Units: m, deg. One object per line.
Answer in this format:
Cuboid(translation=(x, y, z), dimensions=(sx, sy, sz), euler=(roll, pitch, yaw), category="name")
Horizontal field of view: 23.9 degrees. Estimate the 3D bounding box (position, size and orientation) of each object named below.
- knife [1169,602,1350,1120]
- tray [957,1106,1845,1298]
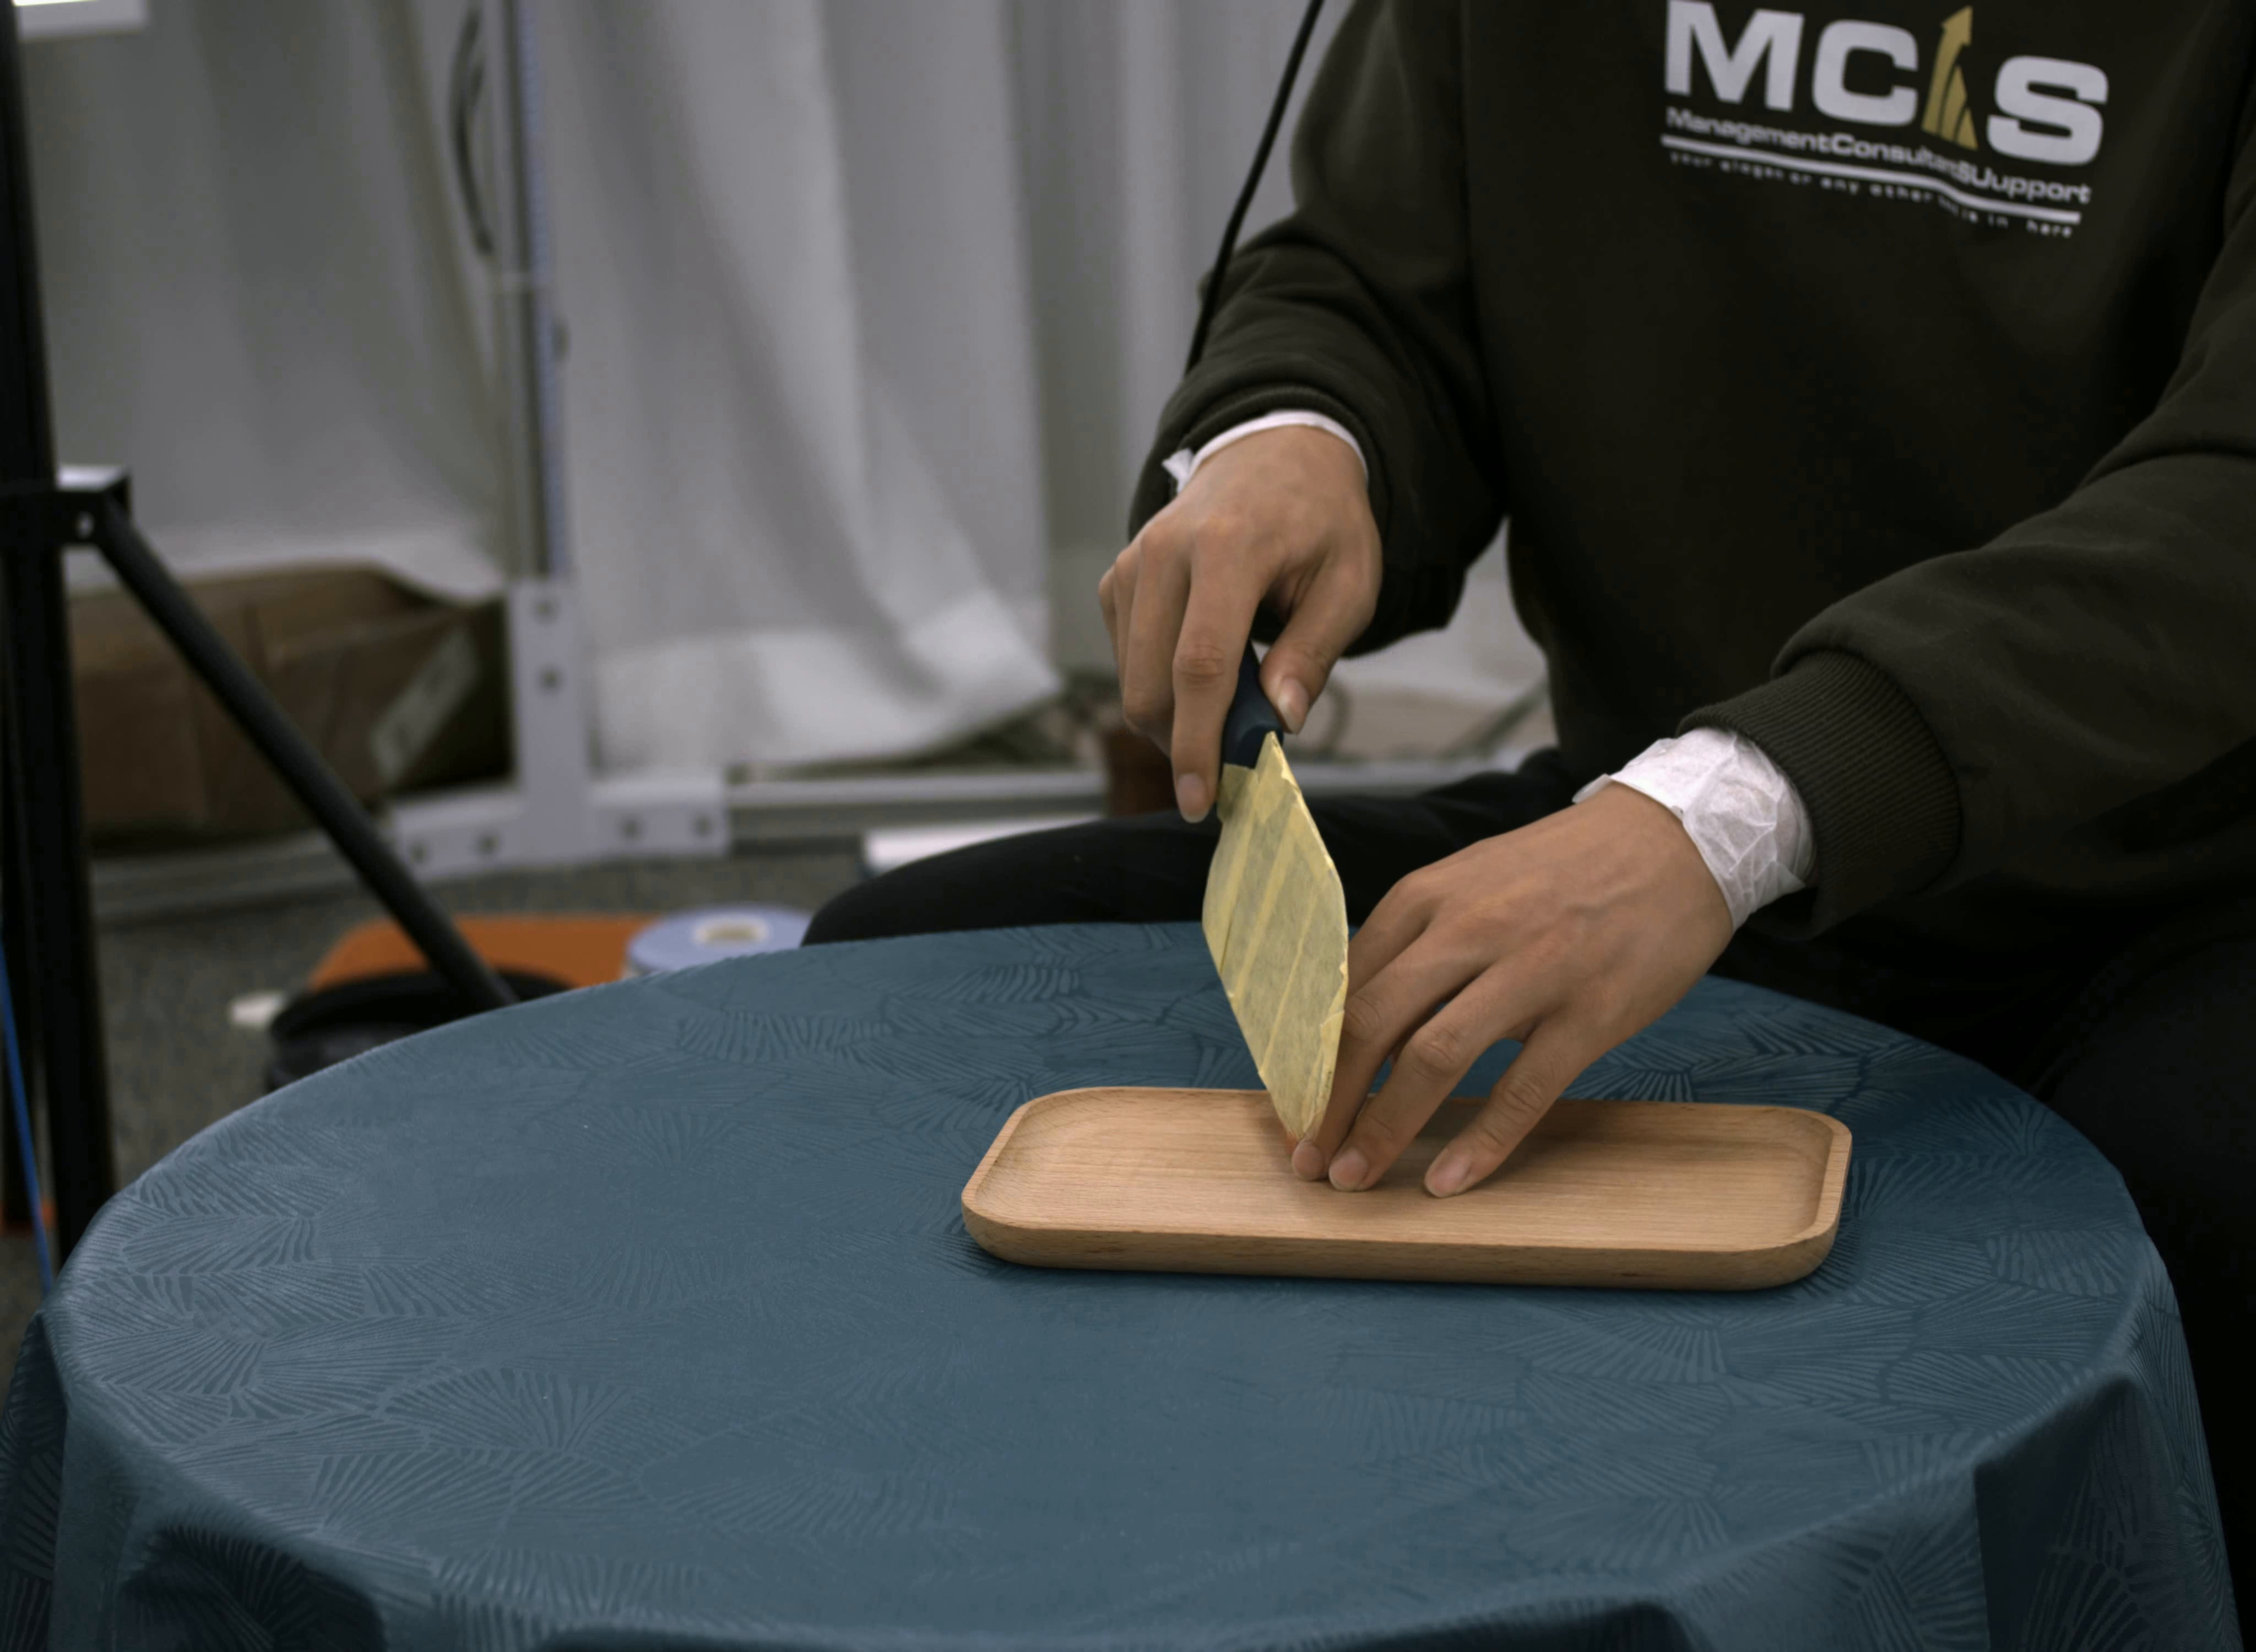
Cuboid(translation=(0.038, 0.006, 1.631), dimensions=(0.027, 0.081, 0.293), euler=(14, 24, -14), category="knife")
Cuboid(translation=(0.080, 0.109, 1.531), dimensions=(0.252, 0.023, 0.129), euler=(-2, 12, 14), category="tray")
